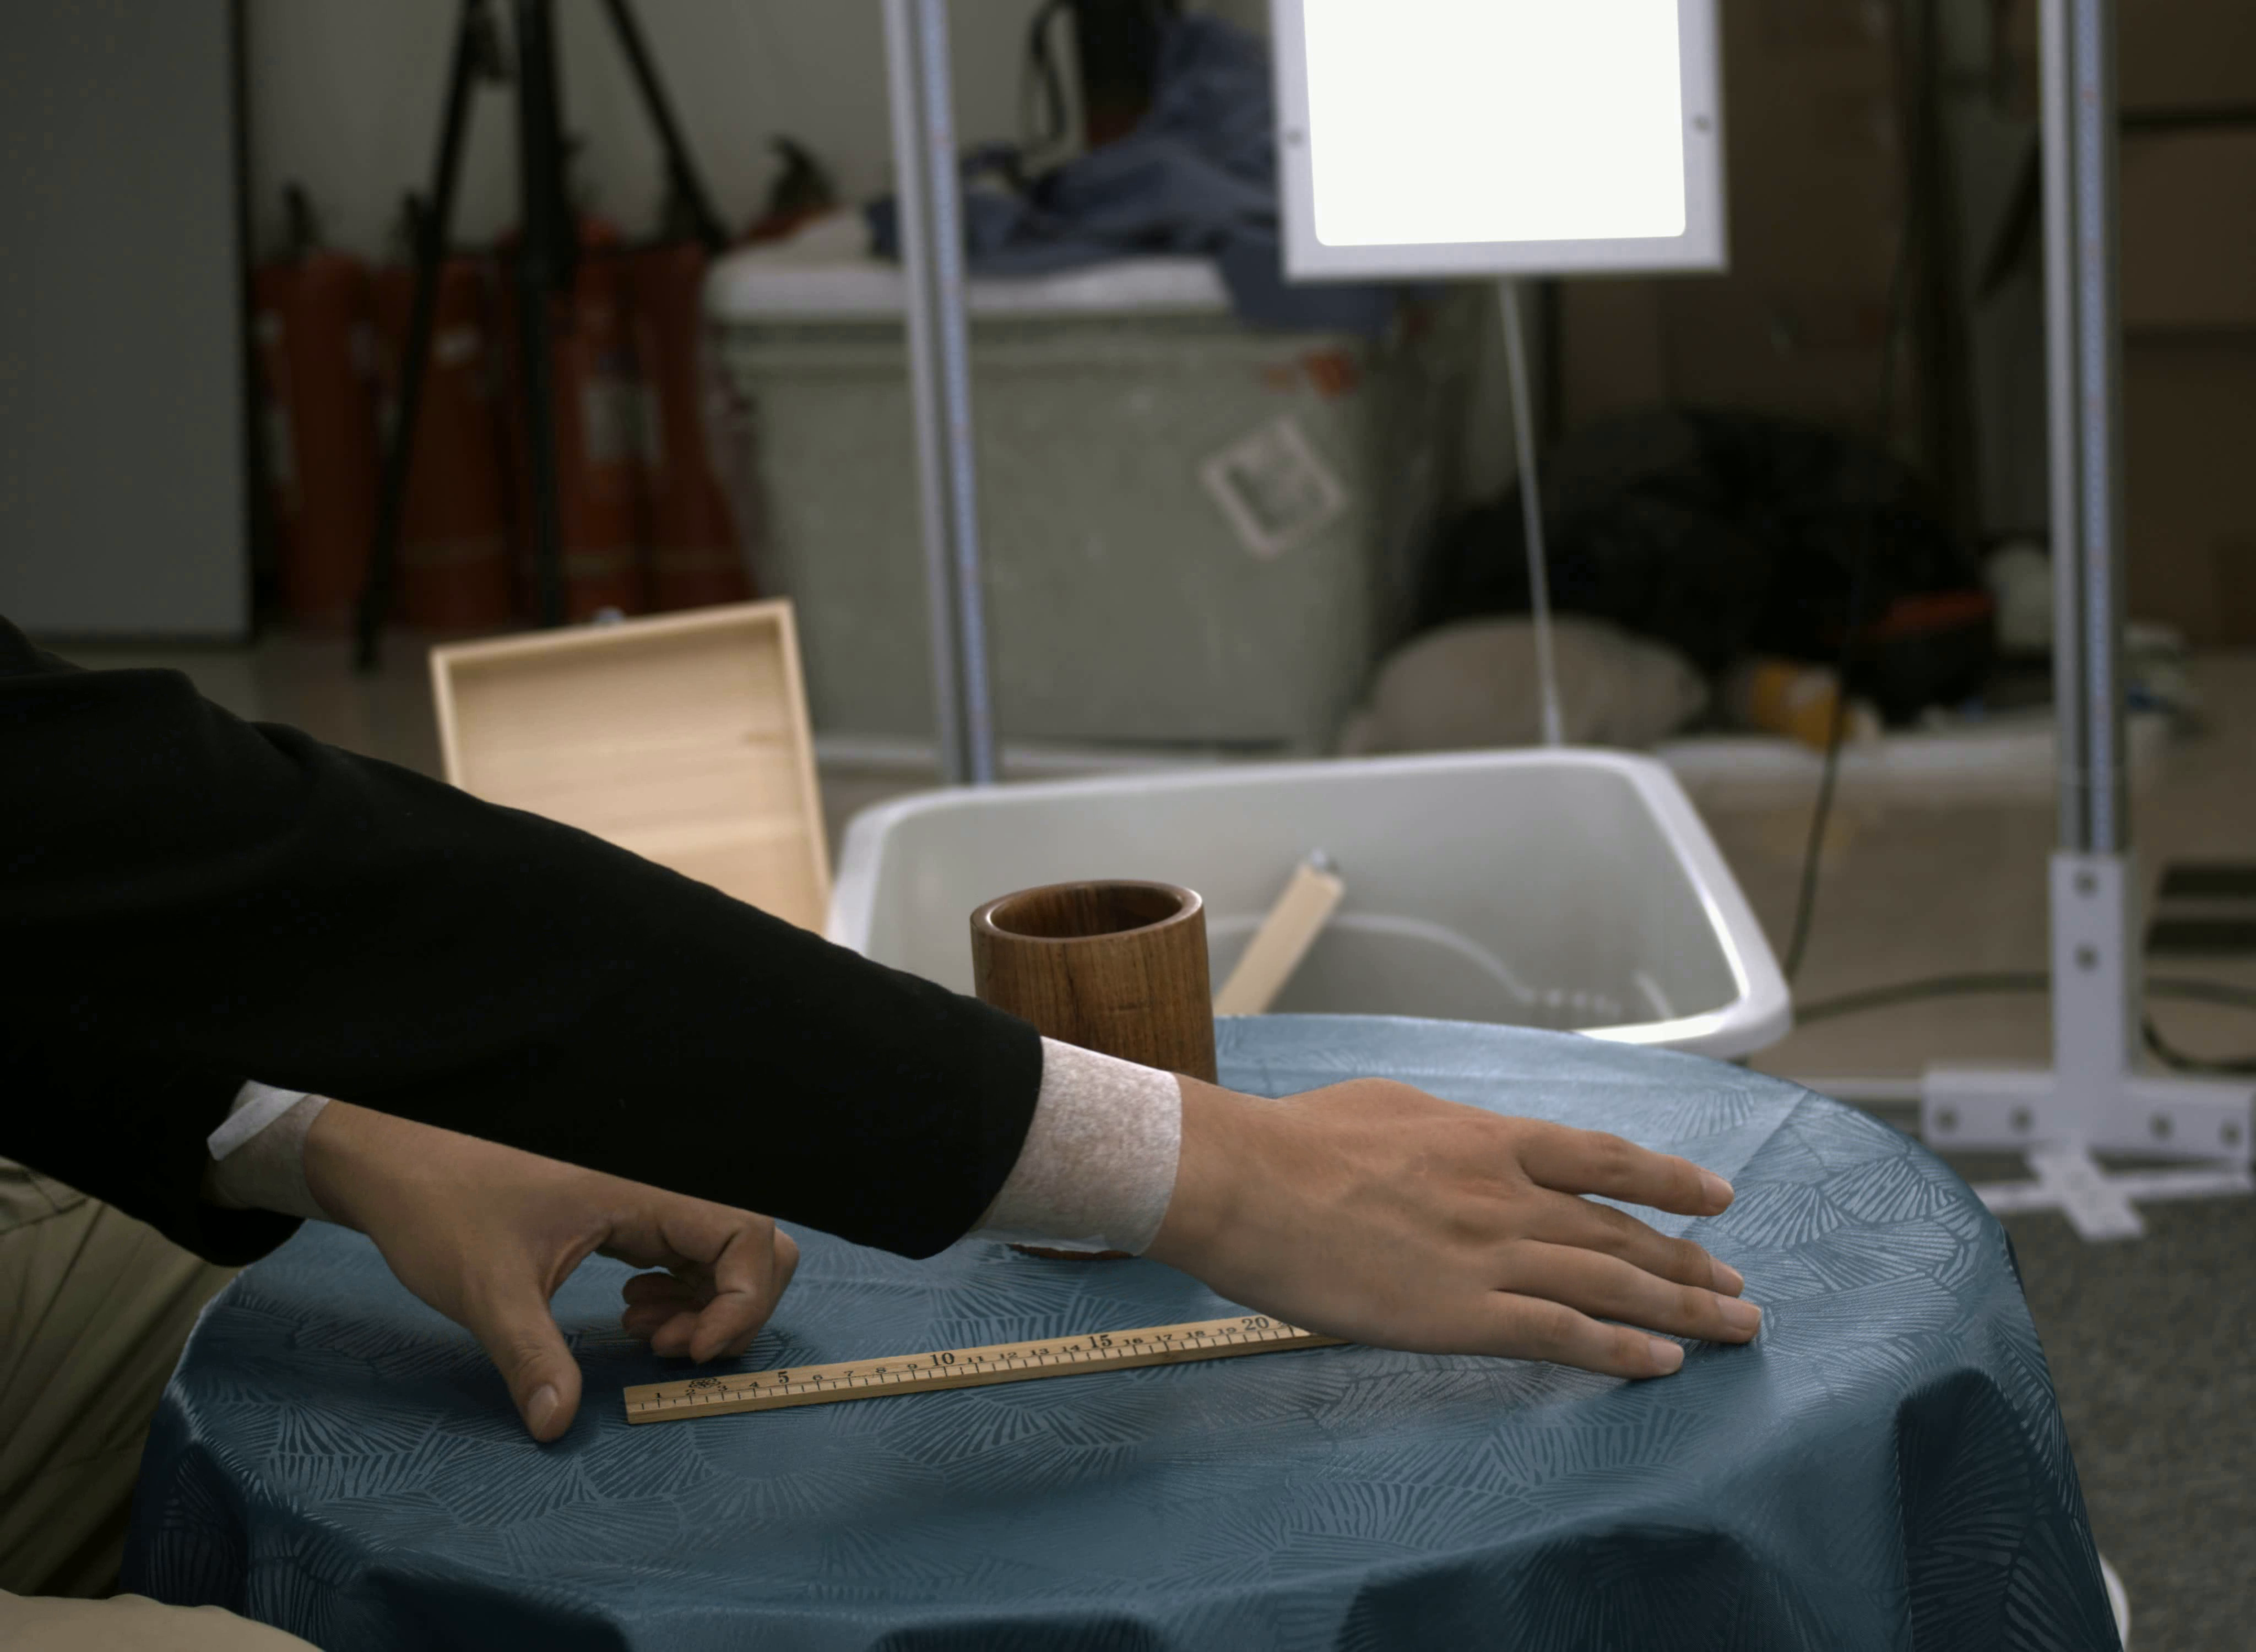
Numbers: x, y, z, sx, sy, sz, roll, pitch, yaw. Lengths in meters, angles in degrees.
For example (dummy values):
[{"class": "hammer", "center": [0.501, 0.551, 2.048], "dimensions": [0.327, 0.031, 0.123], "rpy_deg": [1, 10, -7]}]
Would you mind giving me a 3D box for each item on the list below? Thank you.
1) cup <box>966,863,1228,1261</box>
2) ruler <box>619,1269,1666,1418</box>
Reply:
[{"class": "cup", "center": [-0.009, 0.079, 1.852], "dimensions": [0.087, 0.119, 0.087], "rpy_deg": [-5, 13, 0]}, {"class": "ruler", "center": [0.005, 0.161, 1.734], "dimensions": [0.330, 0.022, 0.027], "rpy_deg": [-5, 9, -2]}]
